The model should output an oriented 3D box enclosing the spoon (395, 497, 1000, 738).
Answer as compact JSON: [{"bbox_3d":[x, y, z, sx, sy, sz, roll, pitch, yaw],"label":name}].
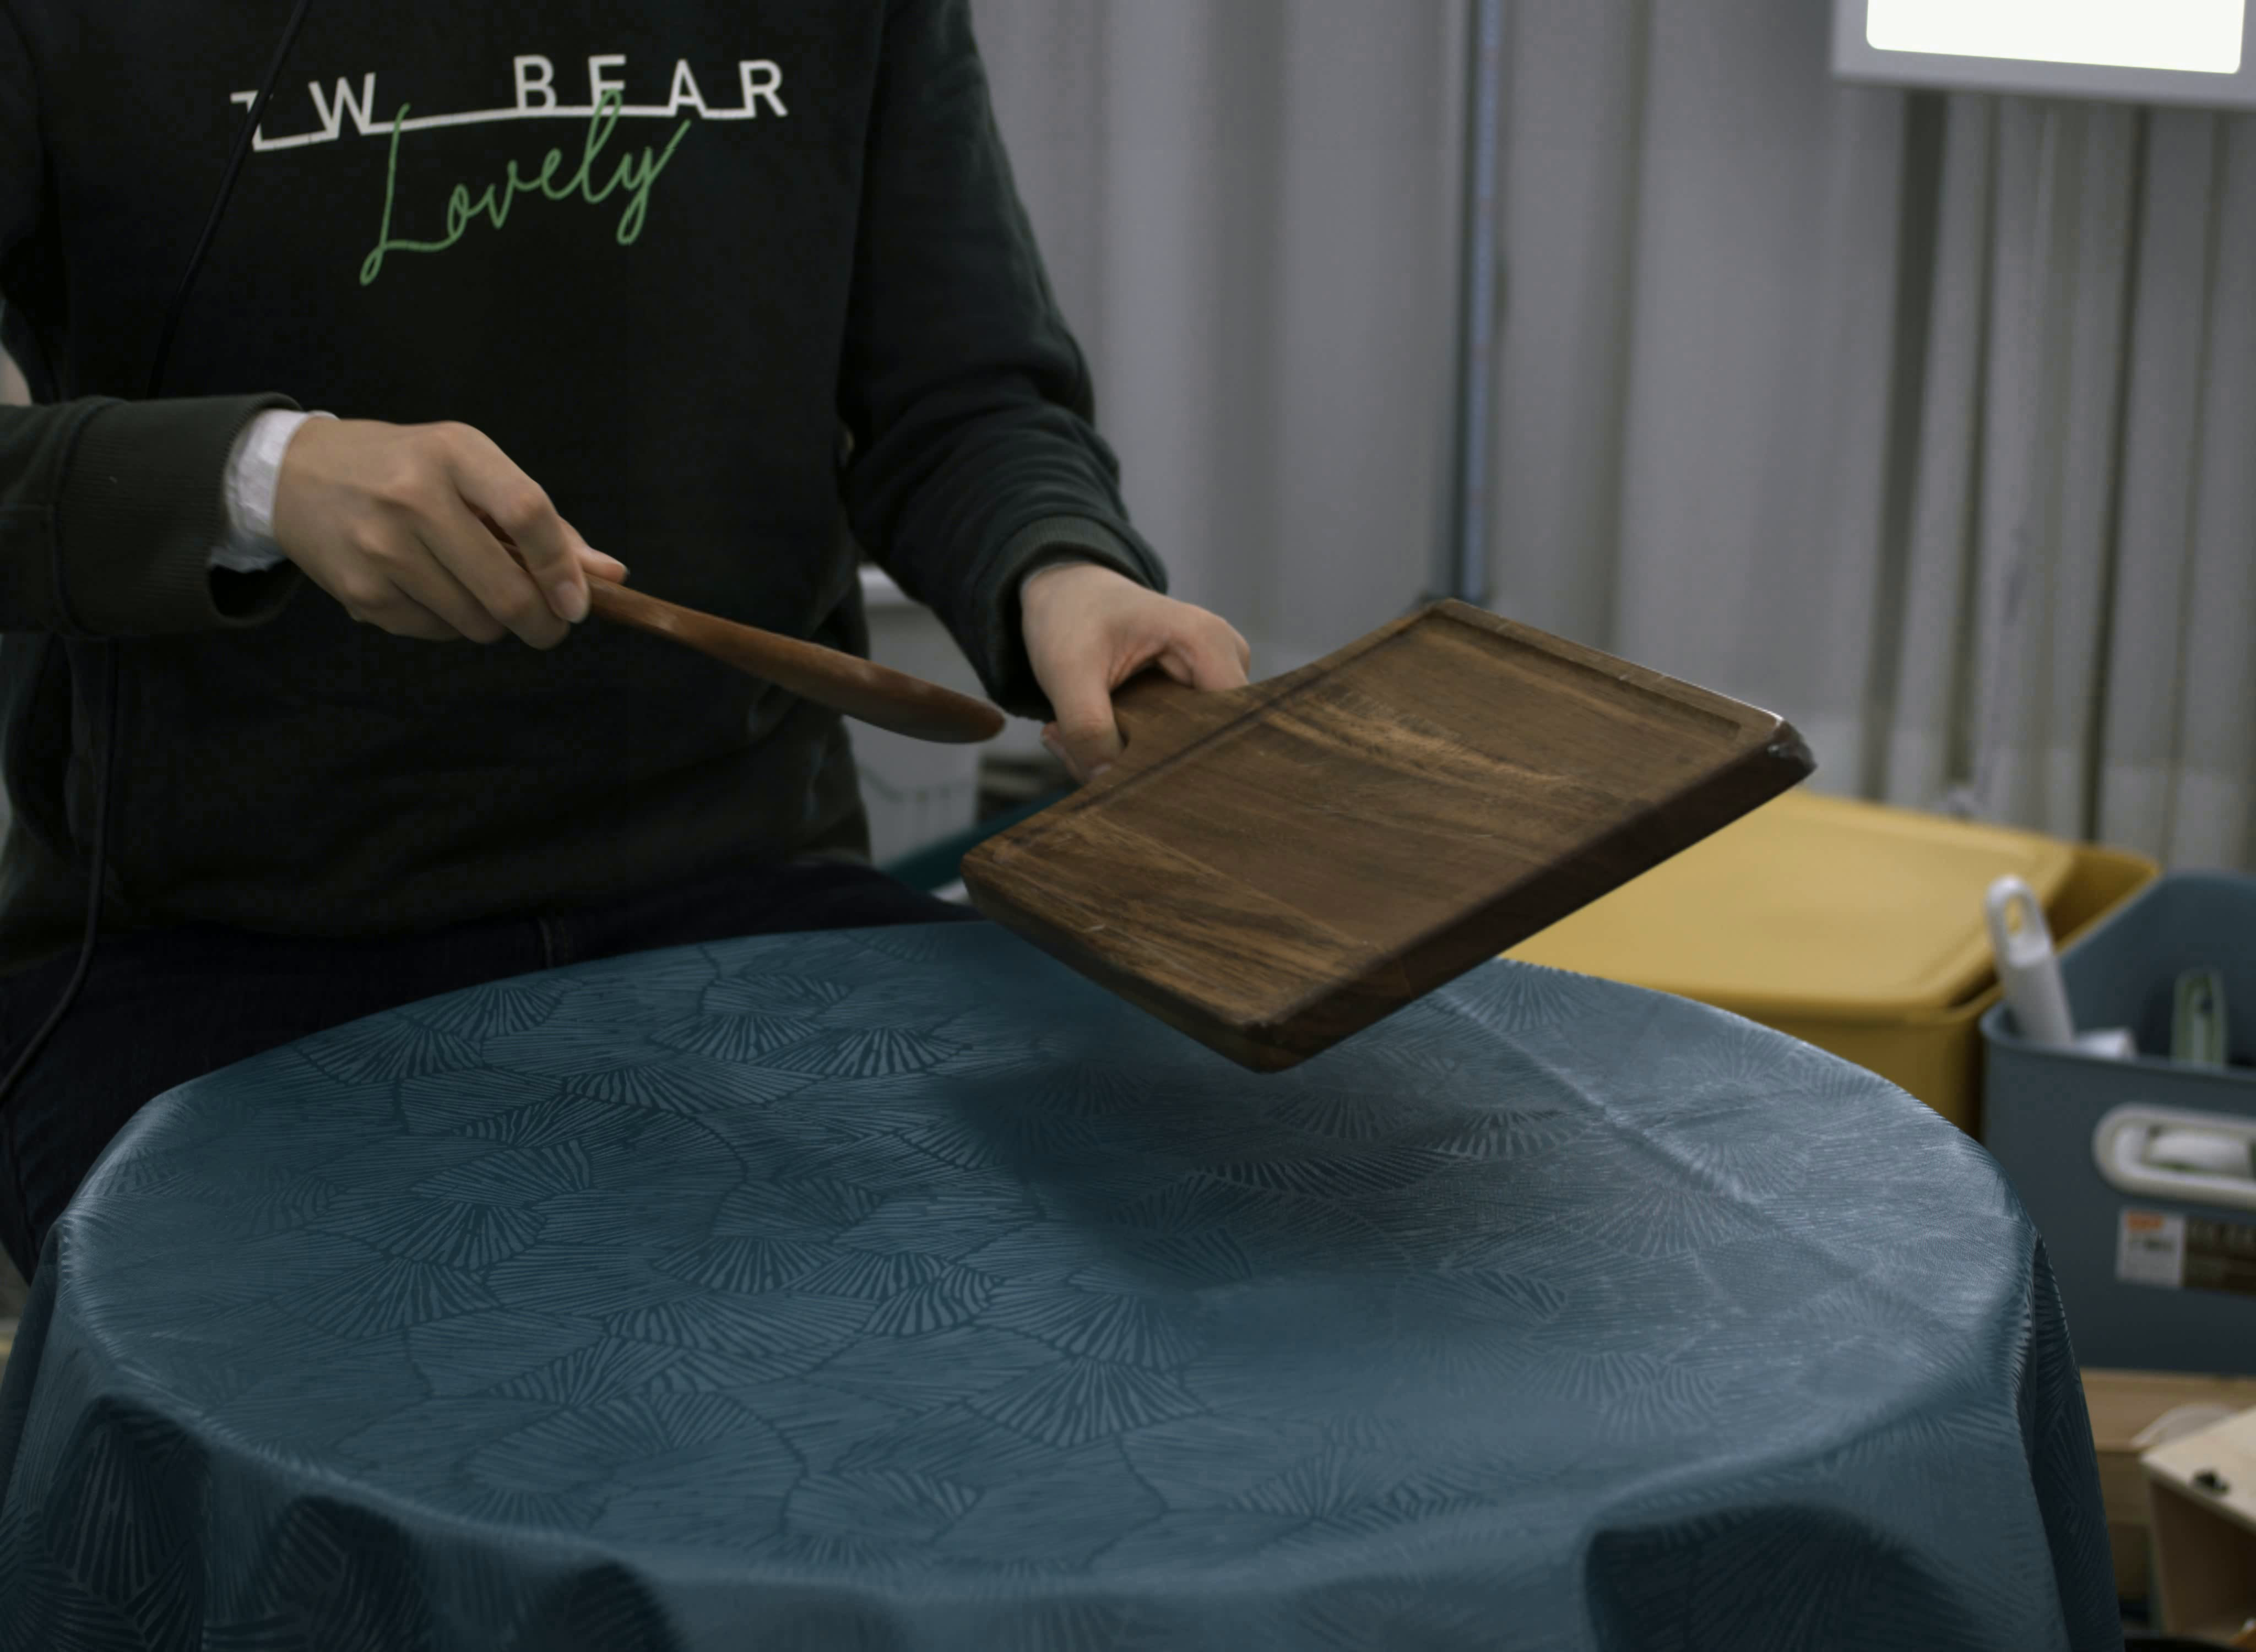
[{"bbox_3d":[-0.138,-0.063,1.655,0.214,0.017,0.076,20,1,19],"label":"spoon"}]

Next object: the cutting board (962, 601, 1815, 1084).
[{"bbox_3d":[0.057,-0.010,1.694,0.201,0.023,0.348,-29,21,-15],"label":"cutting board"}]
